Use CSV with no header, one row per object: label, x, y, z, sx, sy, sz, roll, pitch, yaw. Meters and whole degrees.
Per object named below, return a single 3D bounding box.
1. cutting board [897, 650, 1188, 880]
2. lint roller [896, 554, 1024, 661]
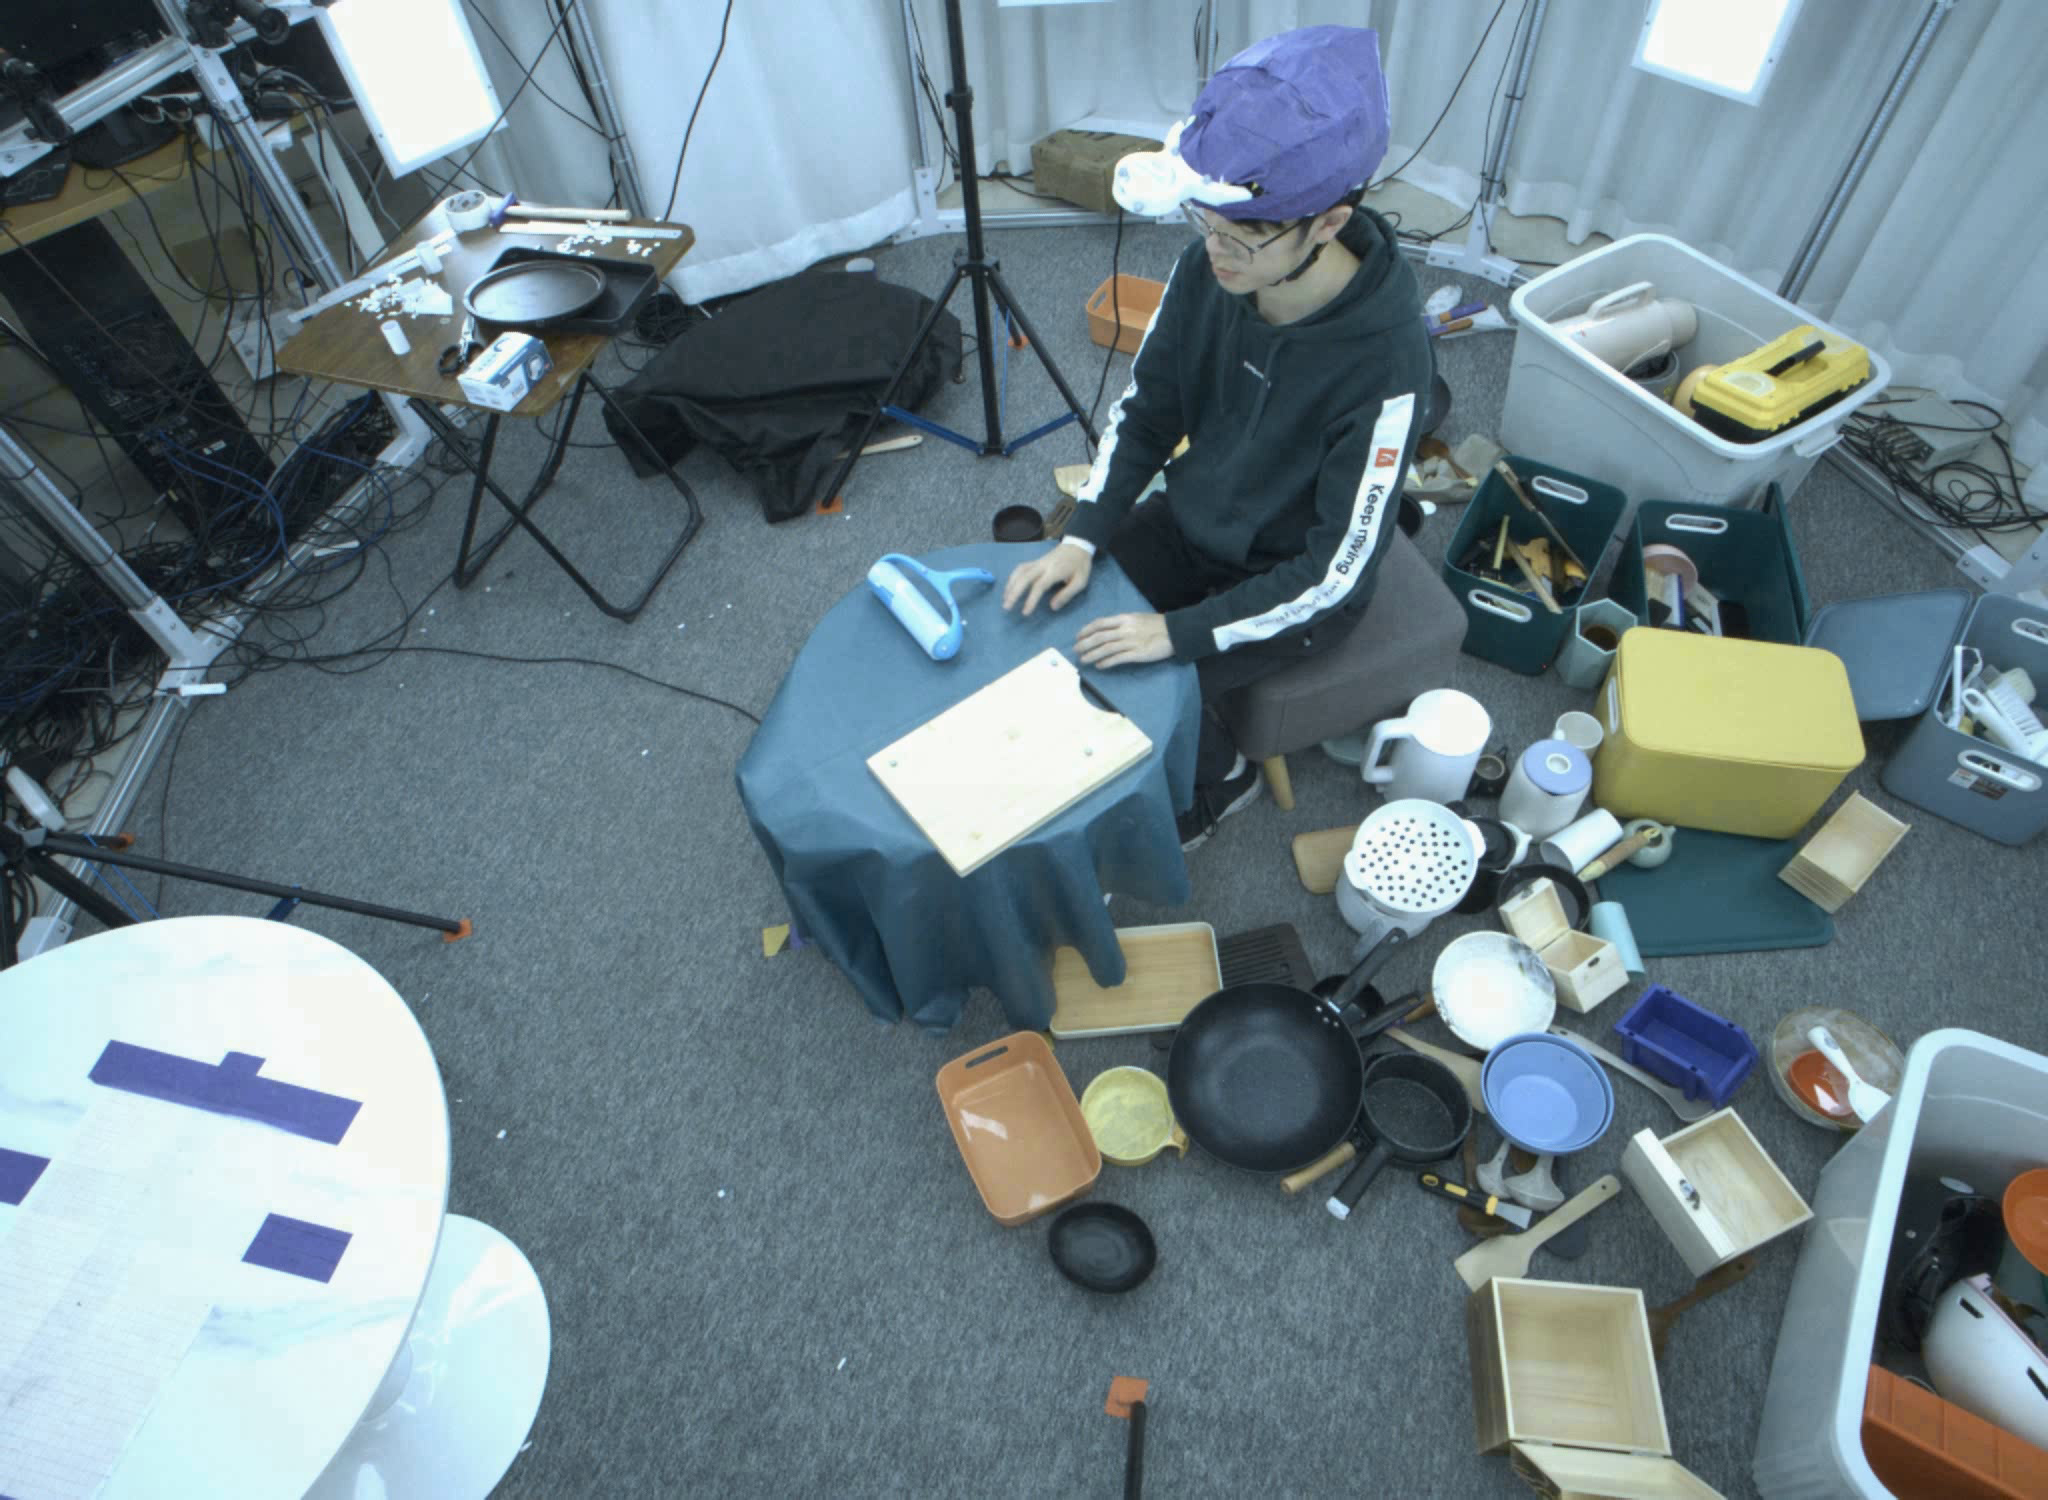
cutting board,0.023,0.012,1.764,0.351,0.024,0.246,-32,60,-19
lint roller,-0.081,-0.248,1.927,0.181,0.069,0.224,-32,58,-18
